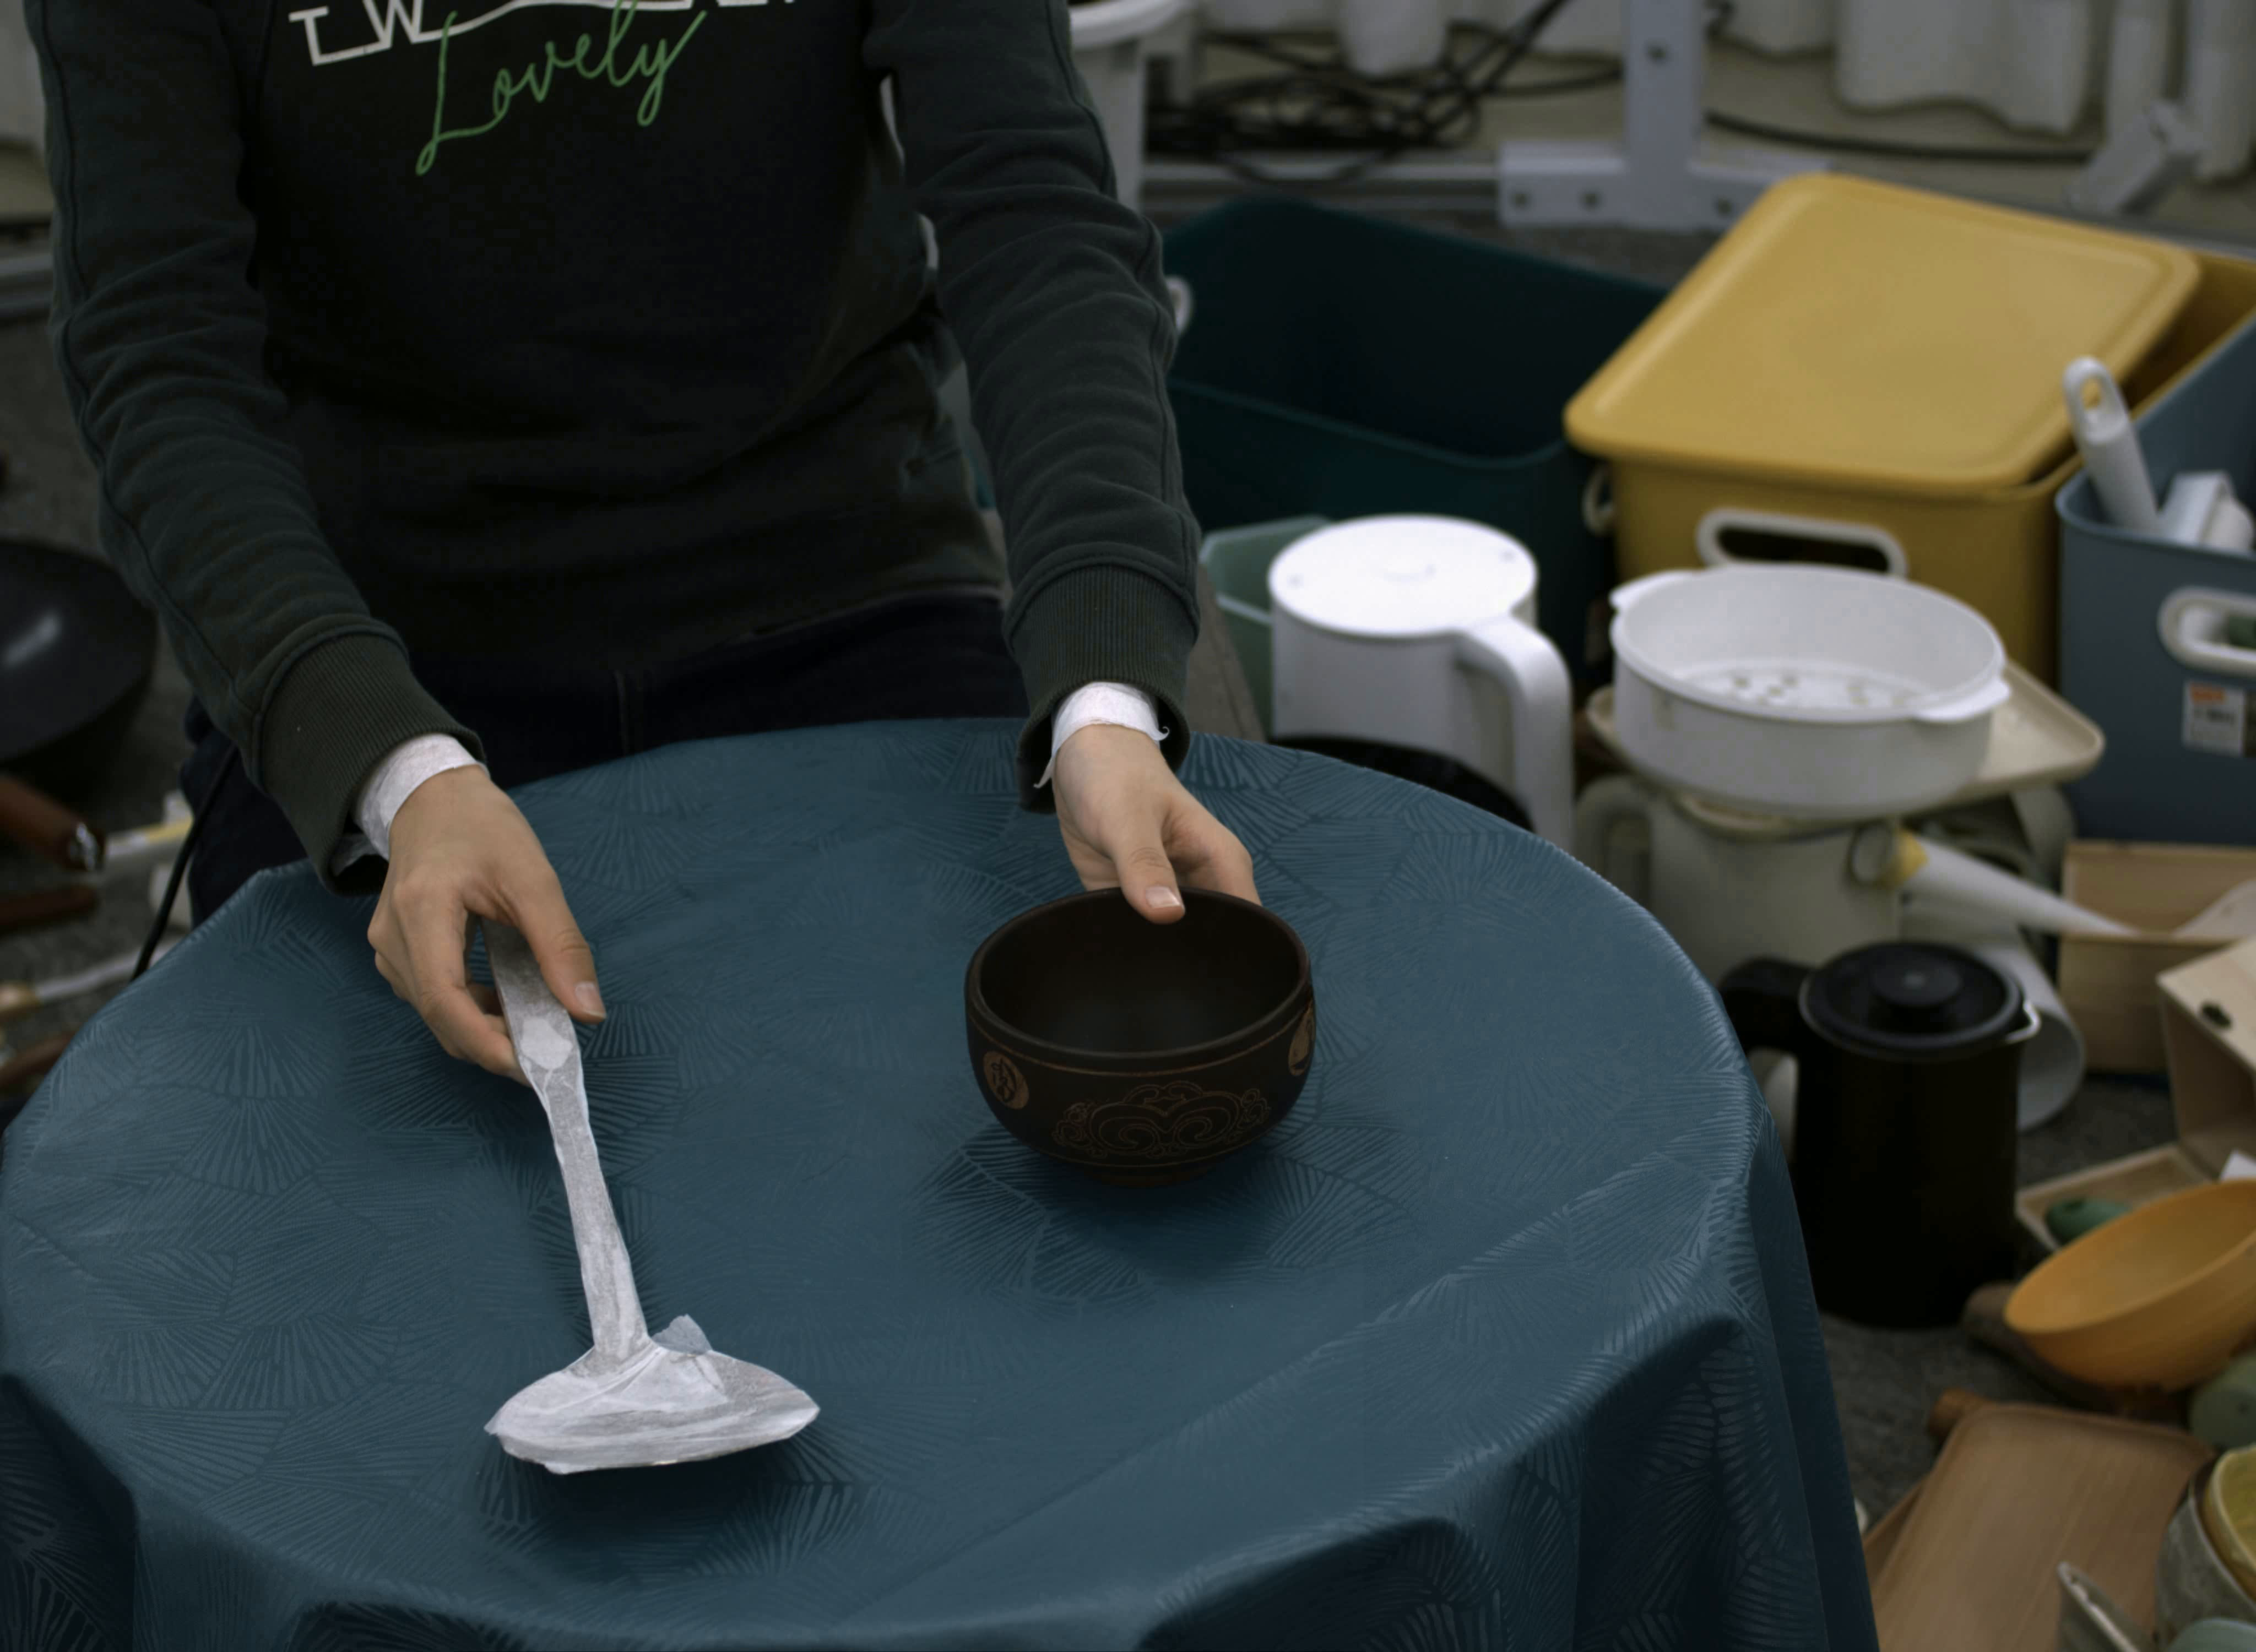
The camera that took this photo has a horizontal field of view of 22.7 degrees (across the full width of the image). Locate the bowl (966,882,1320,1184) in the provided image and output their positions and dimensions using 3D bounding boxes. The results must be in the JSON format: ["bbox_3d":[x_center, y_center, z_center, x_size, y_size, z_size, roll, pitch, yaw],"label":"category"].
[{"bbox_3d":[0.005,0.076,1.872,0.117,0.069,0.120,-1,27,1],"label":"bowl"}]

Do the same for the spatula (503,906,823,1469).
[{"bbox_3d":[-0.175,0.109,1.838,0.098,0.044,0.370,-7,33,-11],"label":"spatula"}]
